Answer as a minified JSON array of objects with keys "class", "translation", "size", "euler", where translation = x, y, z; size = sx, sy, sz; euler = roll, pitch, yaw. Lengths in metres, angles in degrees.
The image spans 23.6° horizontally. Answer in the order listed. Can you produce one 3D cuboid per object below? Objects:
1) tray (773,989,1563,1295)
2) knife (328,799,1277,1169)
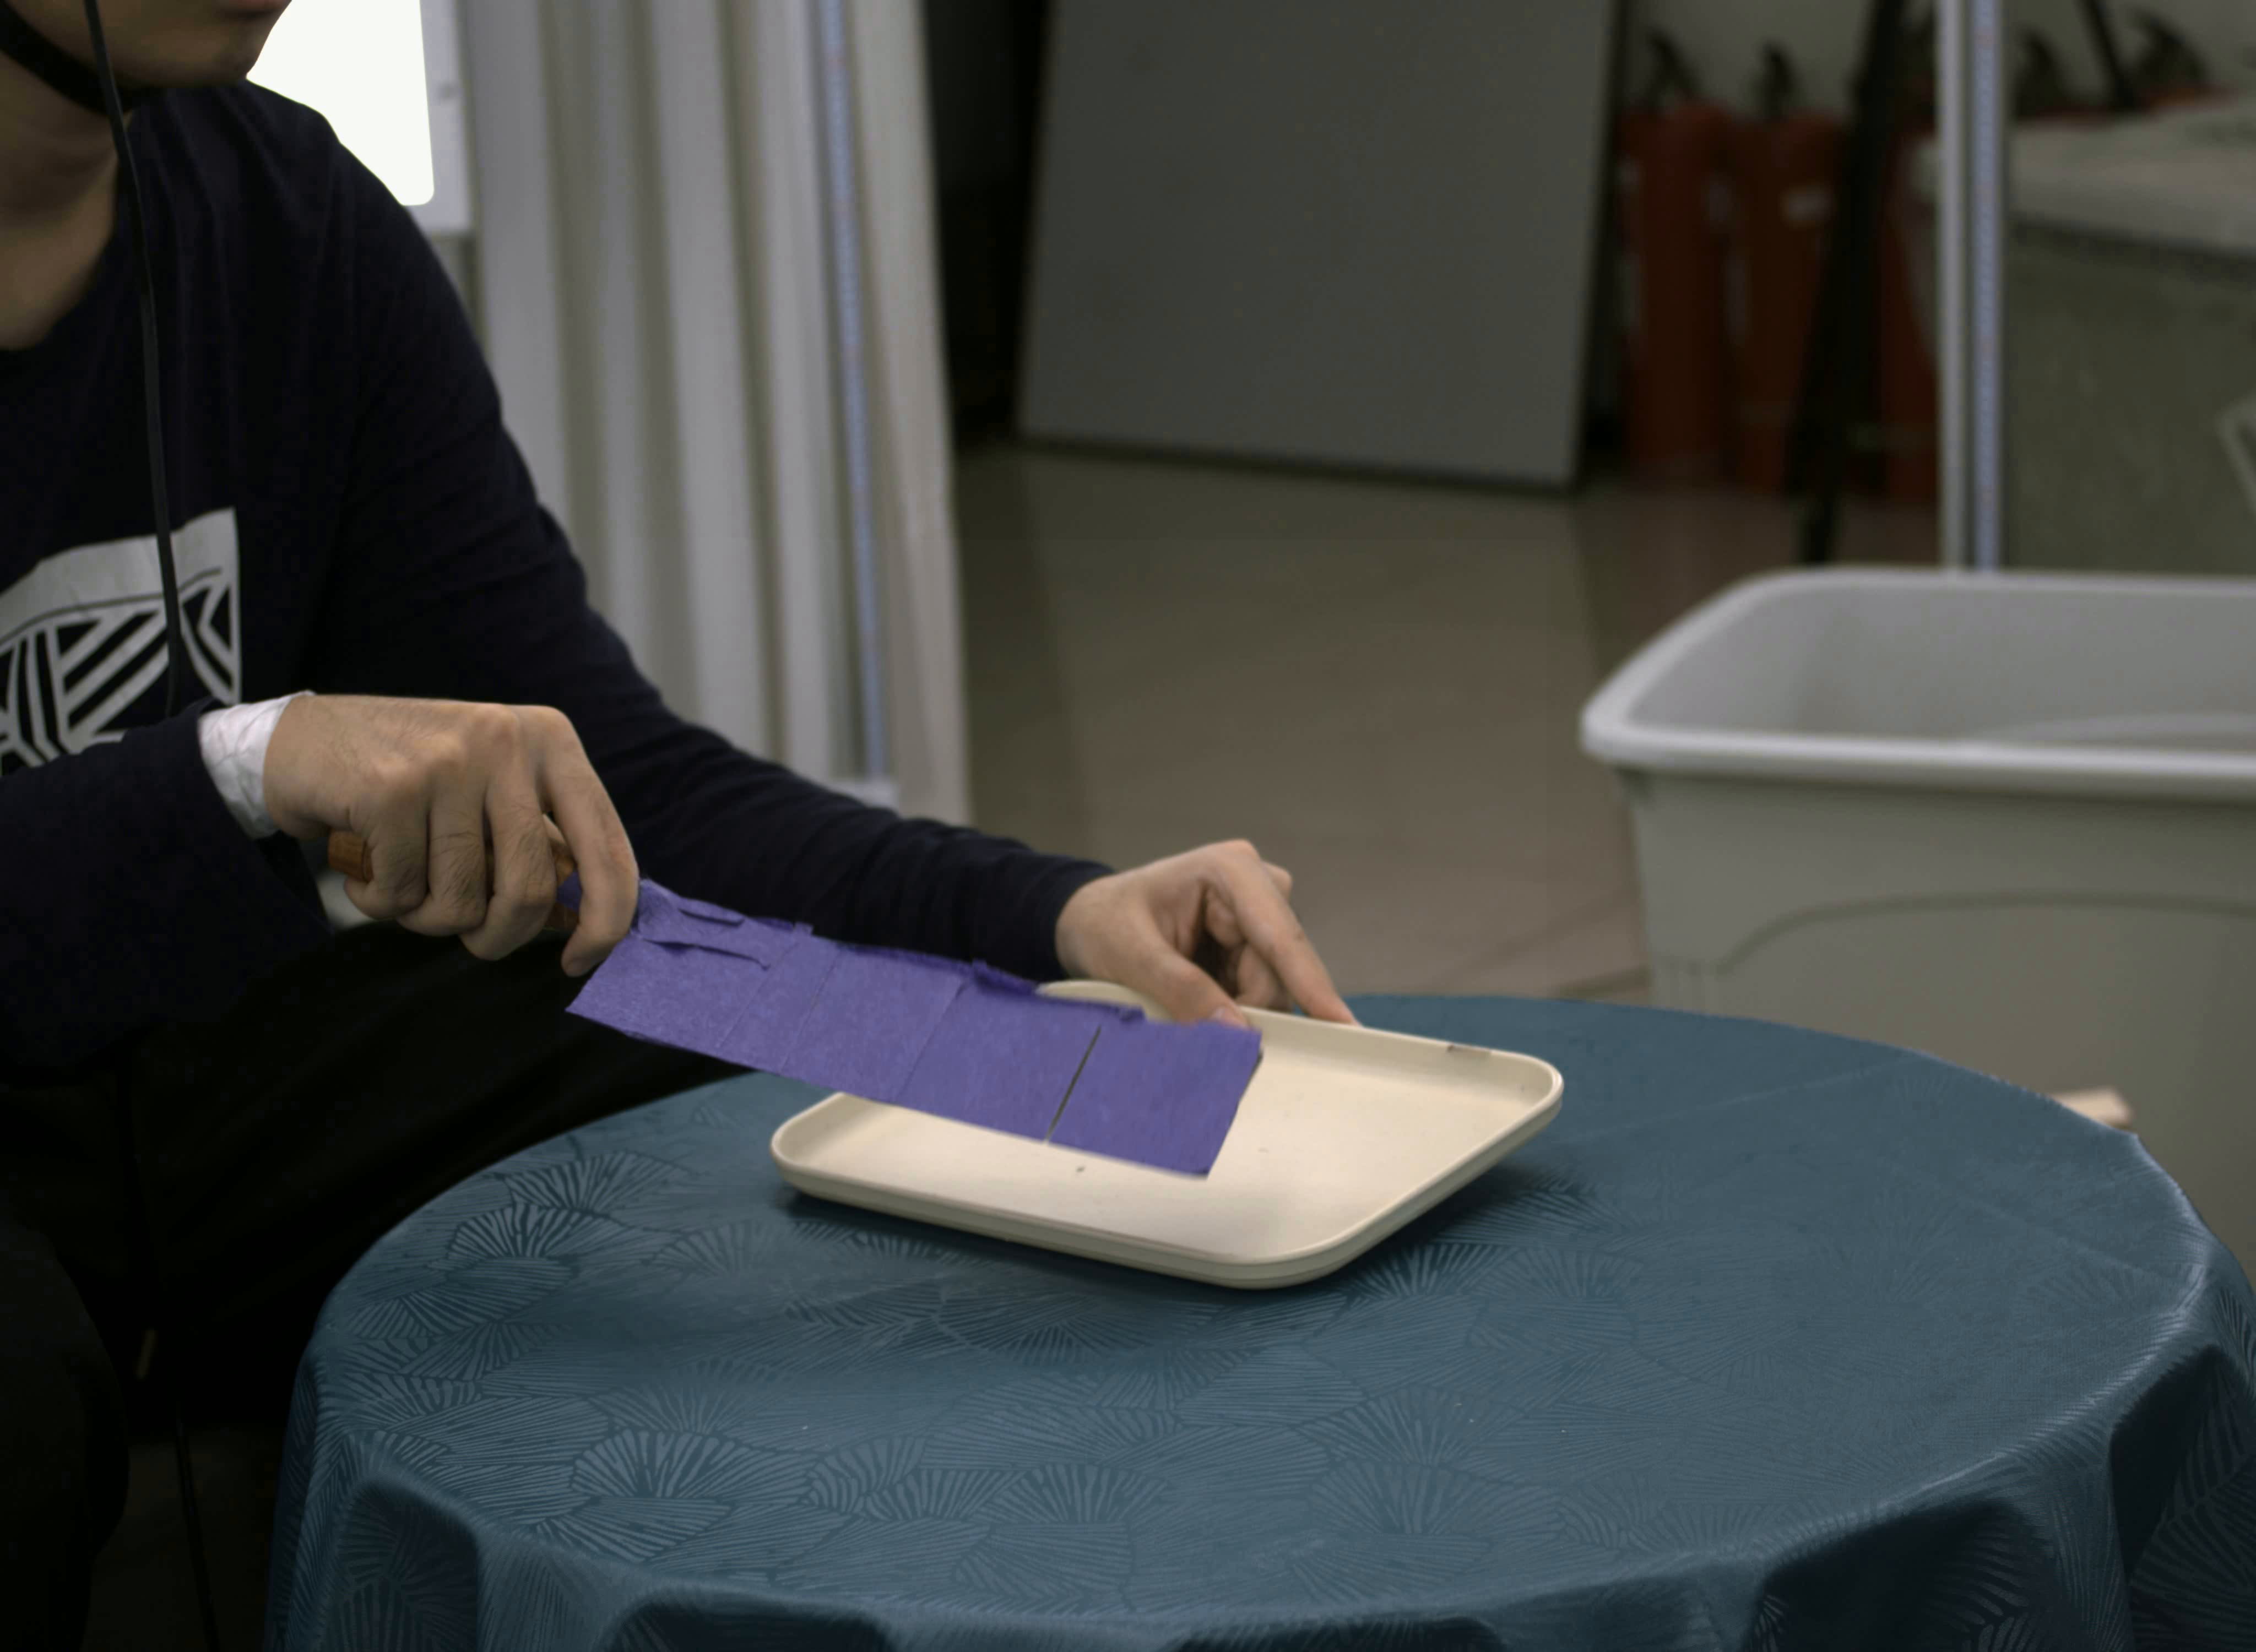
[{"class":"tray","translation":[0.013,0.103,1.775],"size":[0.241,0.017,0.168],"euler":[8,26,41]},{"class":"knife","translation":[-0.111,0.049,1.686],"size":[0.313,0.032,0.103],"euler":[12,24,12]}]
